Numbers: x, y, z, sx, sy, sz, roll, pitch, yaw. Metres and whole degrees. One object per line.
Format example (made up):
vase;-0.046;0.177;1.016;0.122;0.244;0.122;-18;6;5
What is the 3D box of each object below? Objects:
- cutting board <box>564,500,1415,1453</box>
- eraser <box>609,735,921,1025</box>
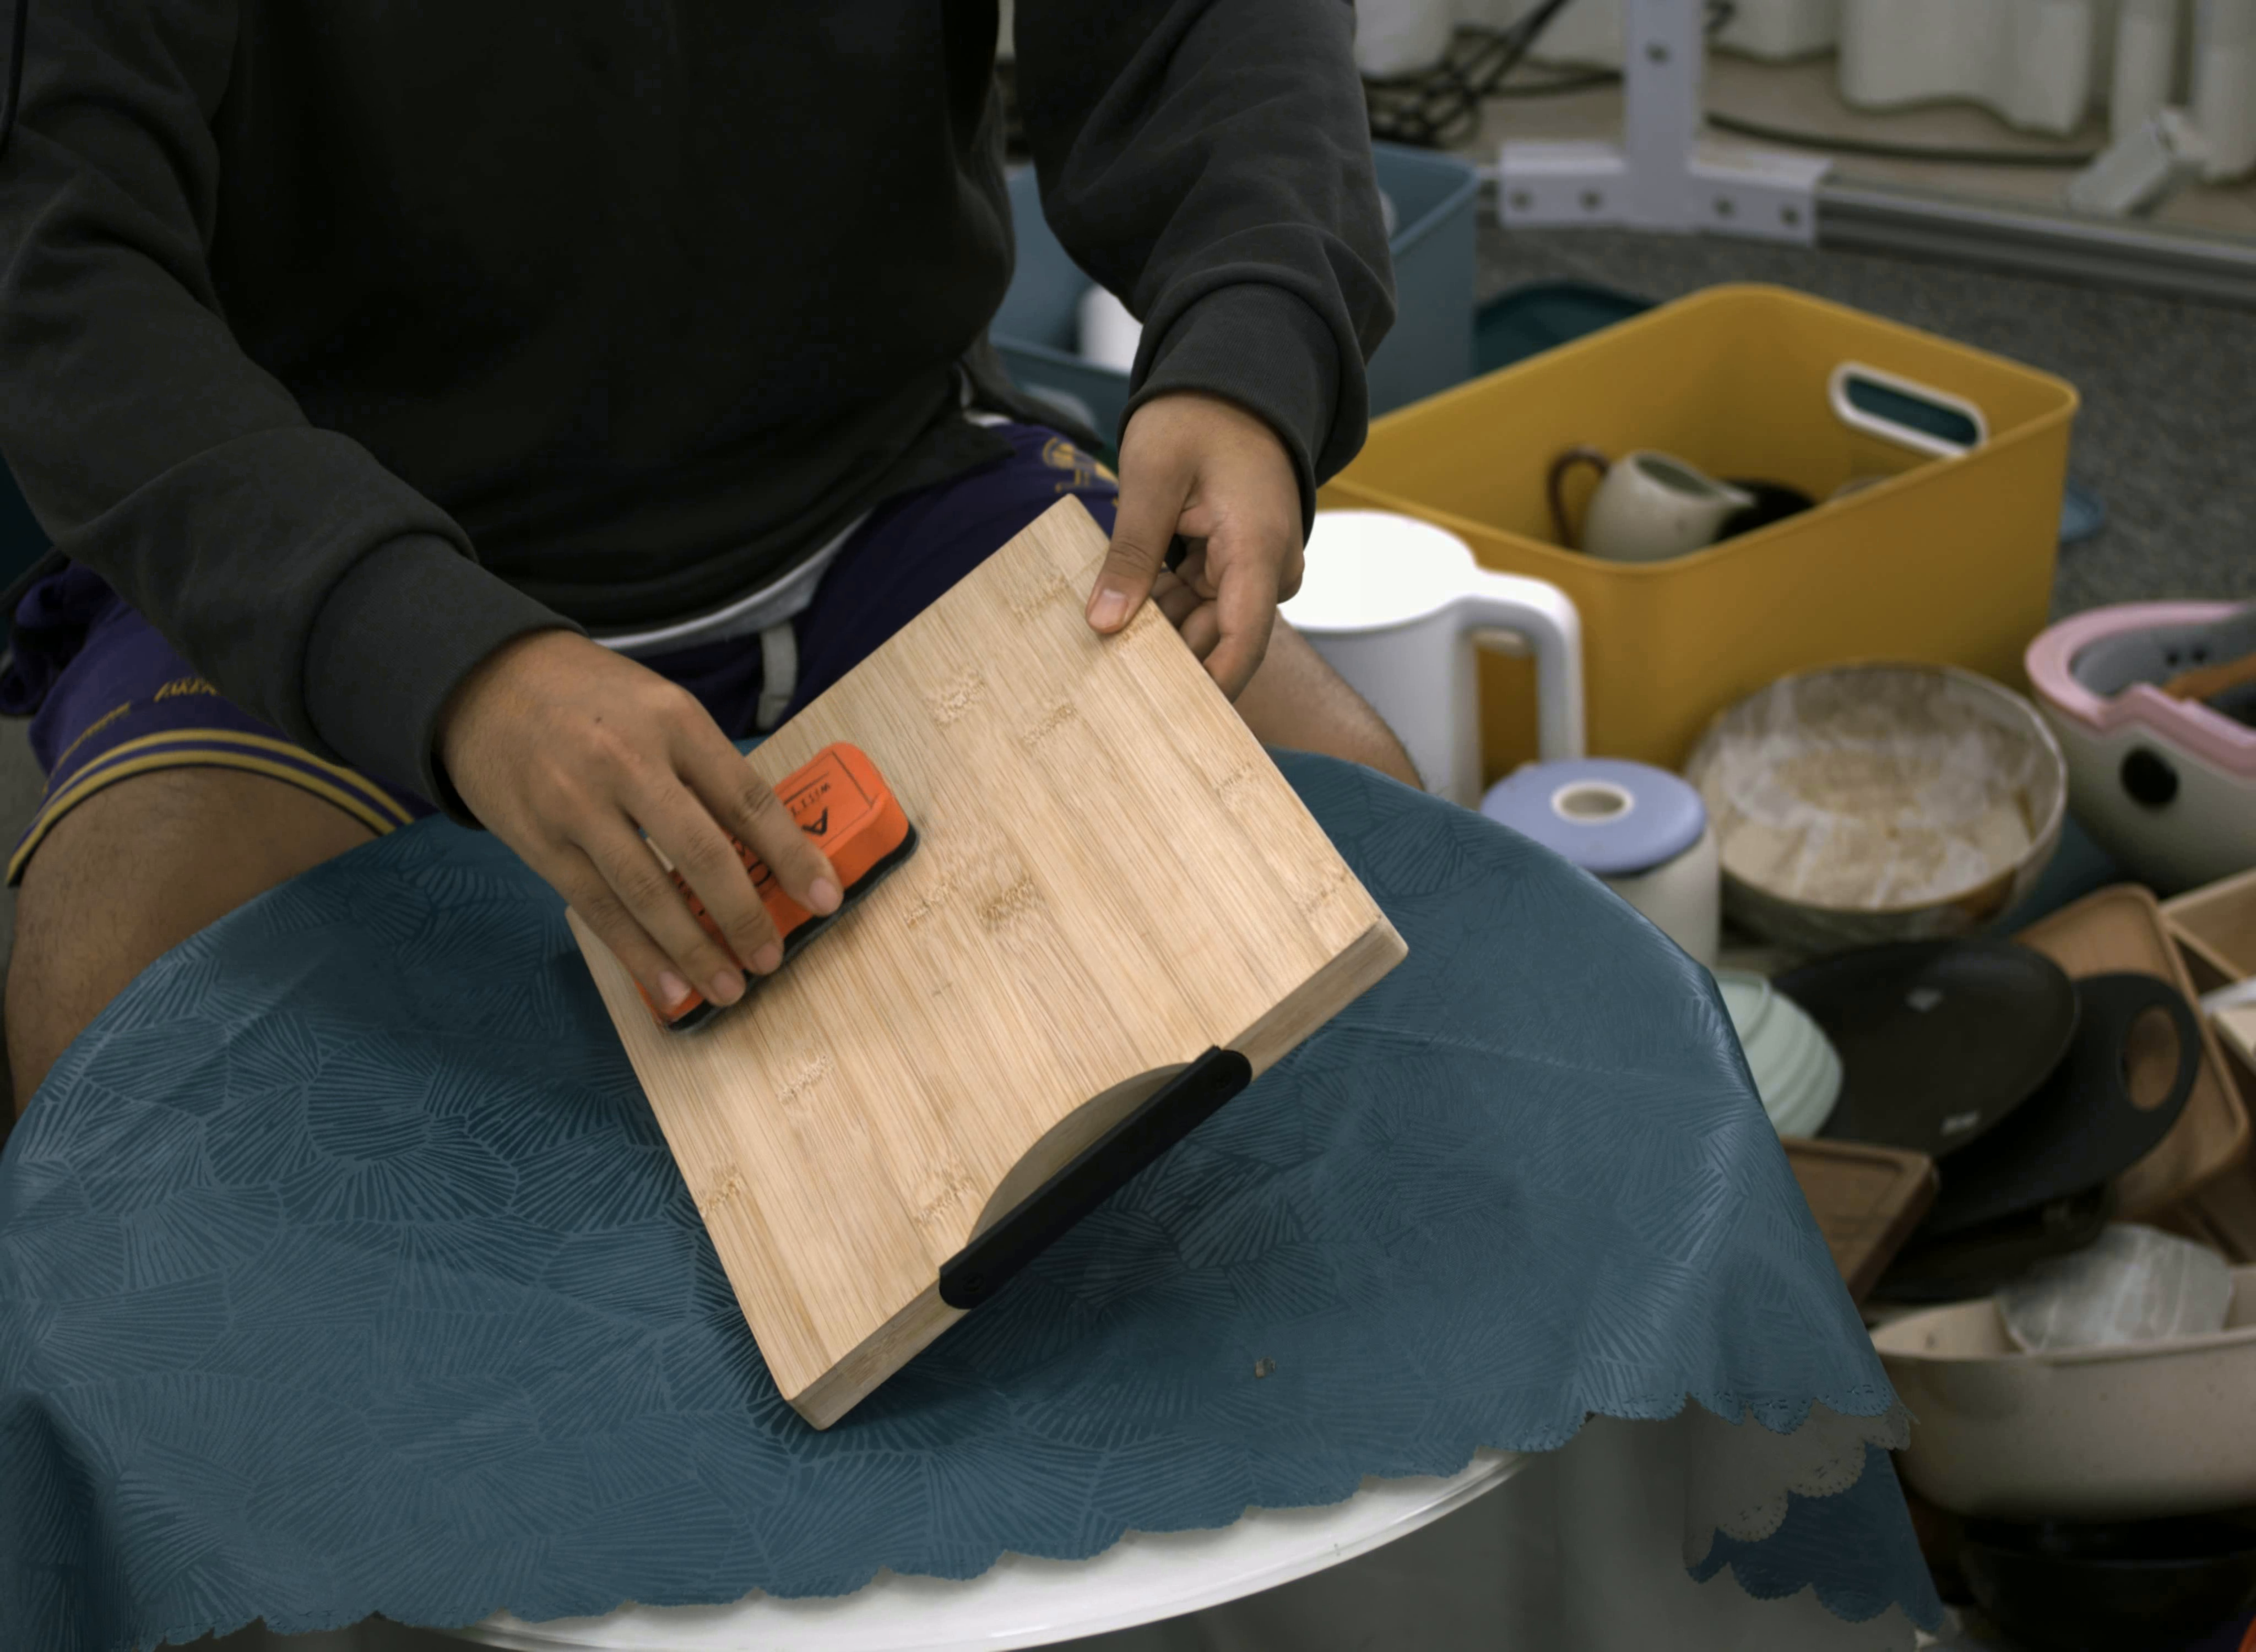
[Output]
cutting board;-0.057;0.038;1.875;0.250;0.023;0.352;-39;31;2
eraser;-0.125;0.018;1.928;0.108;0.022;0.059;-38;36;-2
